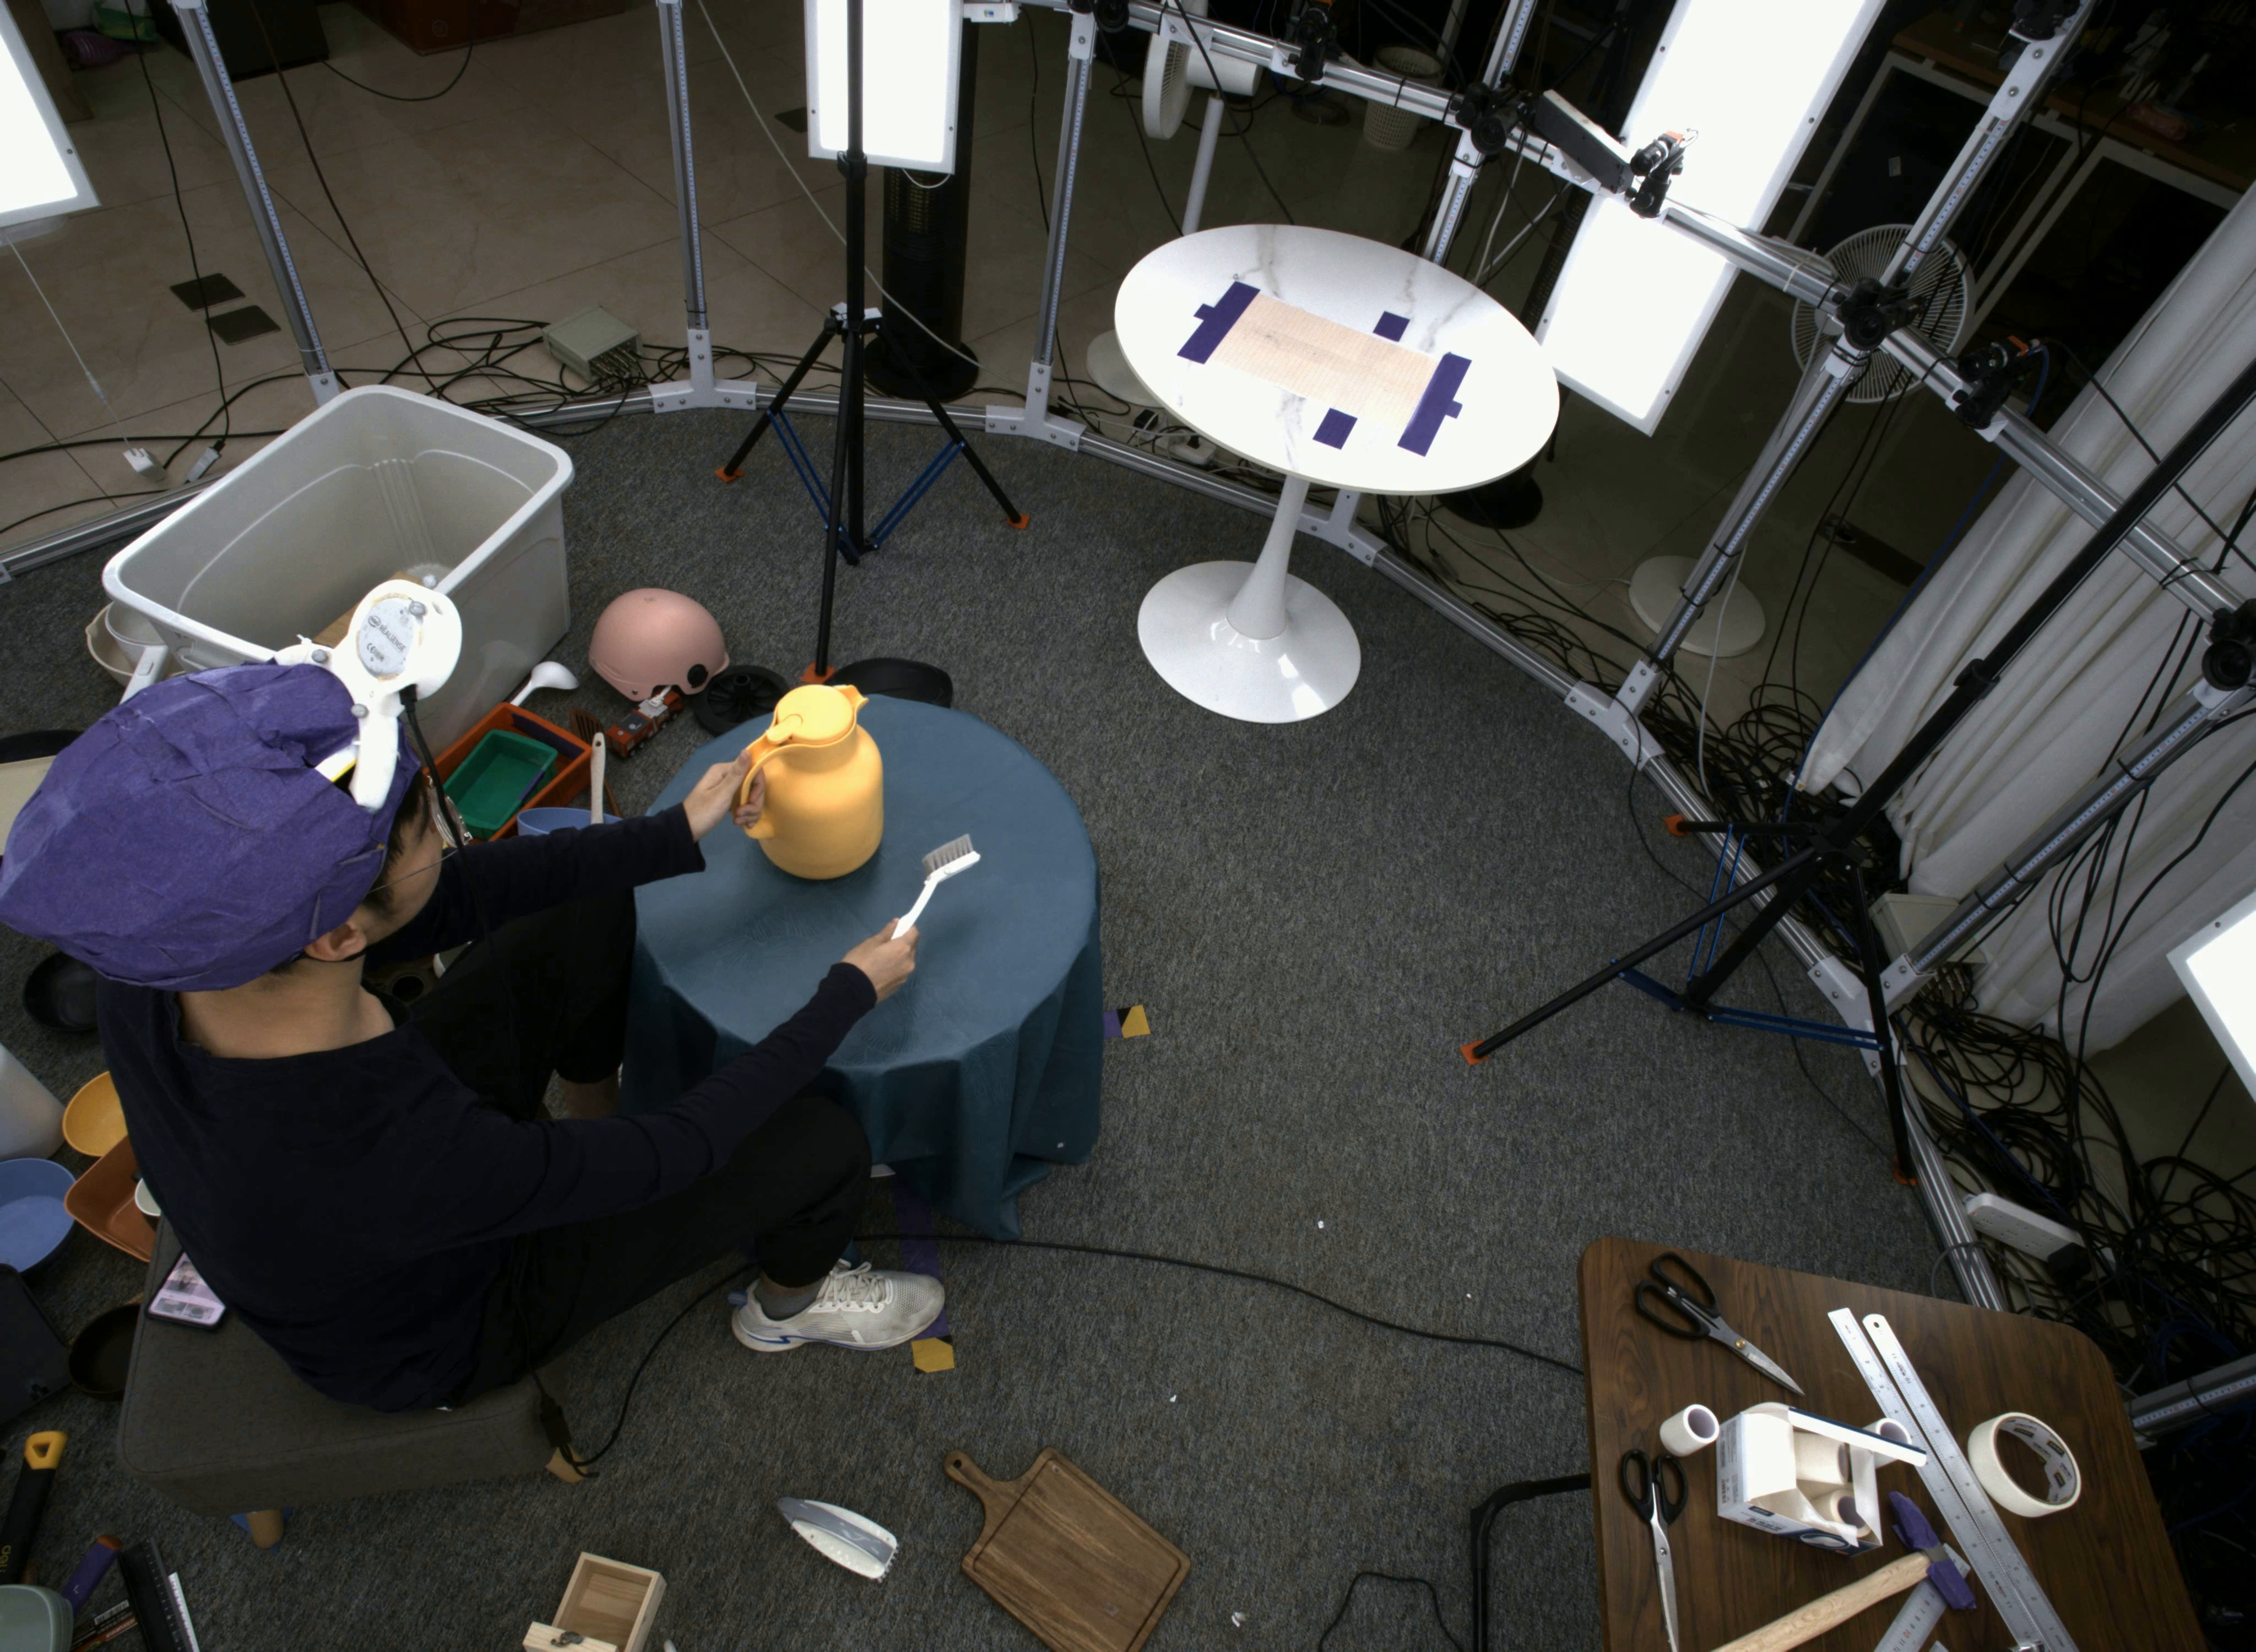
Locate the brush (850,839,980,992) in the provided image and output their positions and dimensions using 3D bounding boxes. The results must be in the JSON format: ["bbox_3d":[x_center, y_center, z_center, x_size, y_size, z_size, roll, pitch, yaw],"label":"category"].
[{"bbox_3d":[-0.268,0.101,1.581,0.051,0.033,0.243,53,57,-17],"label":"brush"}]

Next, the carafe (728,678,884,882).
[{"bbox_3d":[-0.401,-0.054,1.603,0.159,0.267,0.203,40,54,22],"label":"carafe"}]
